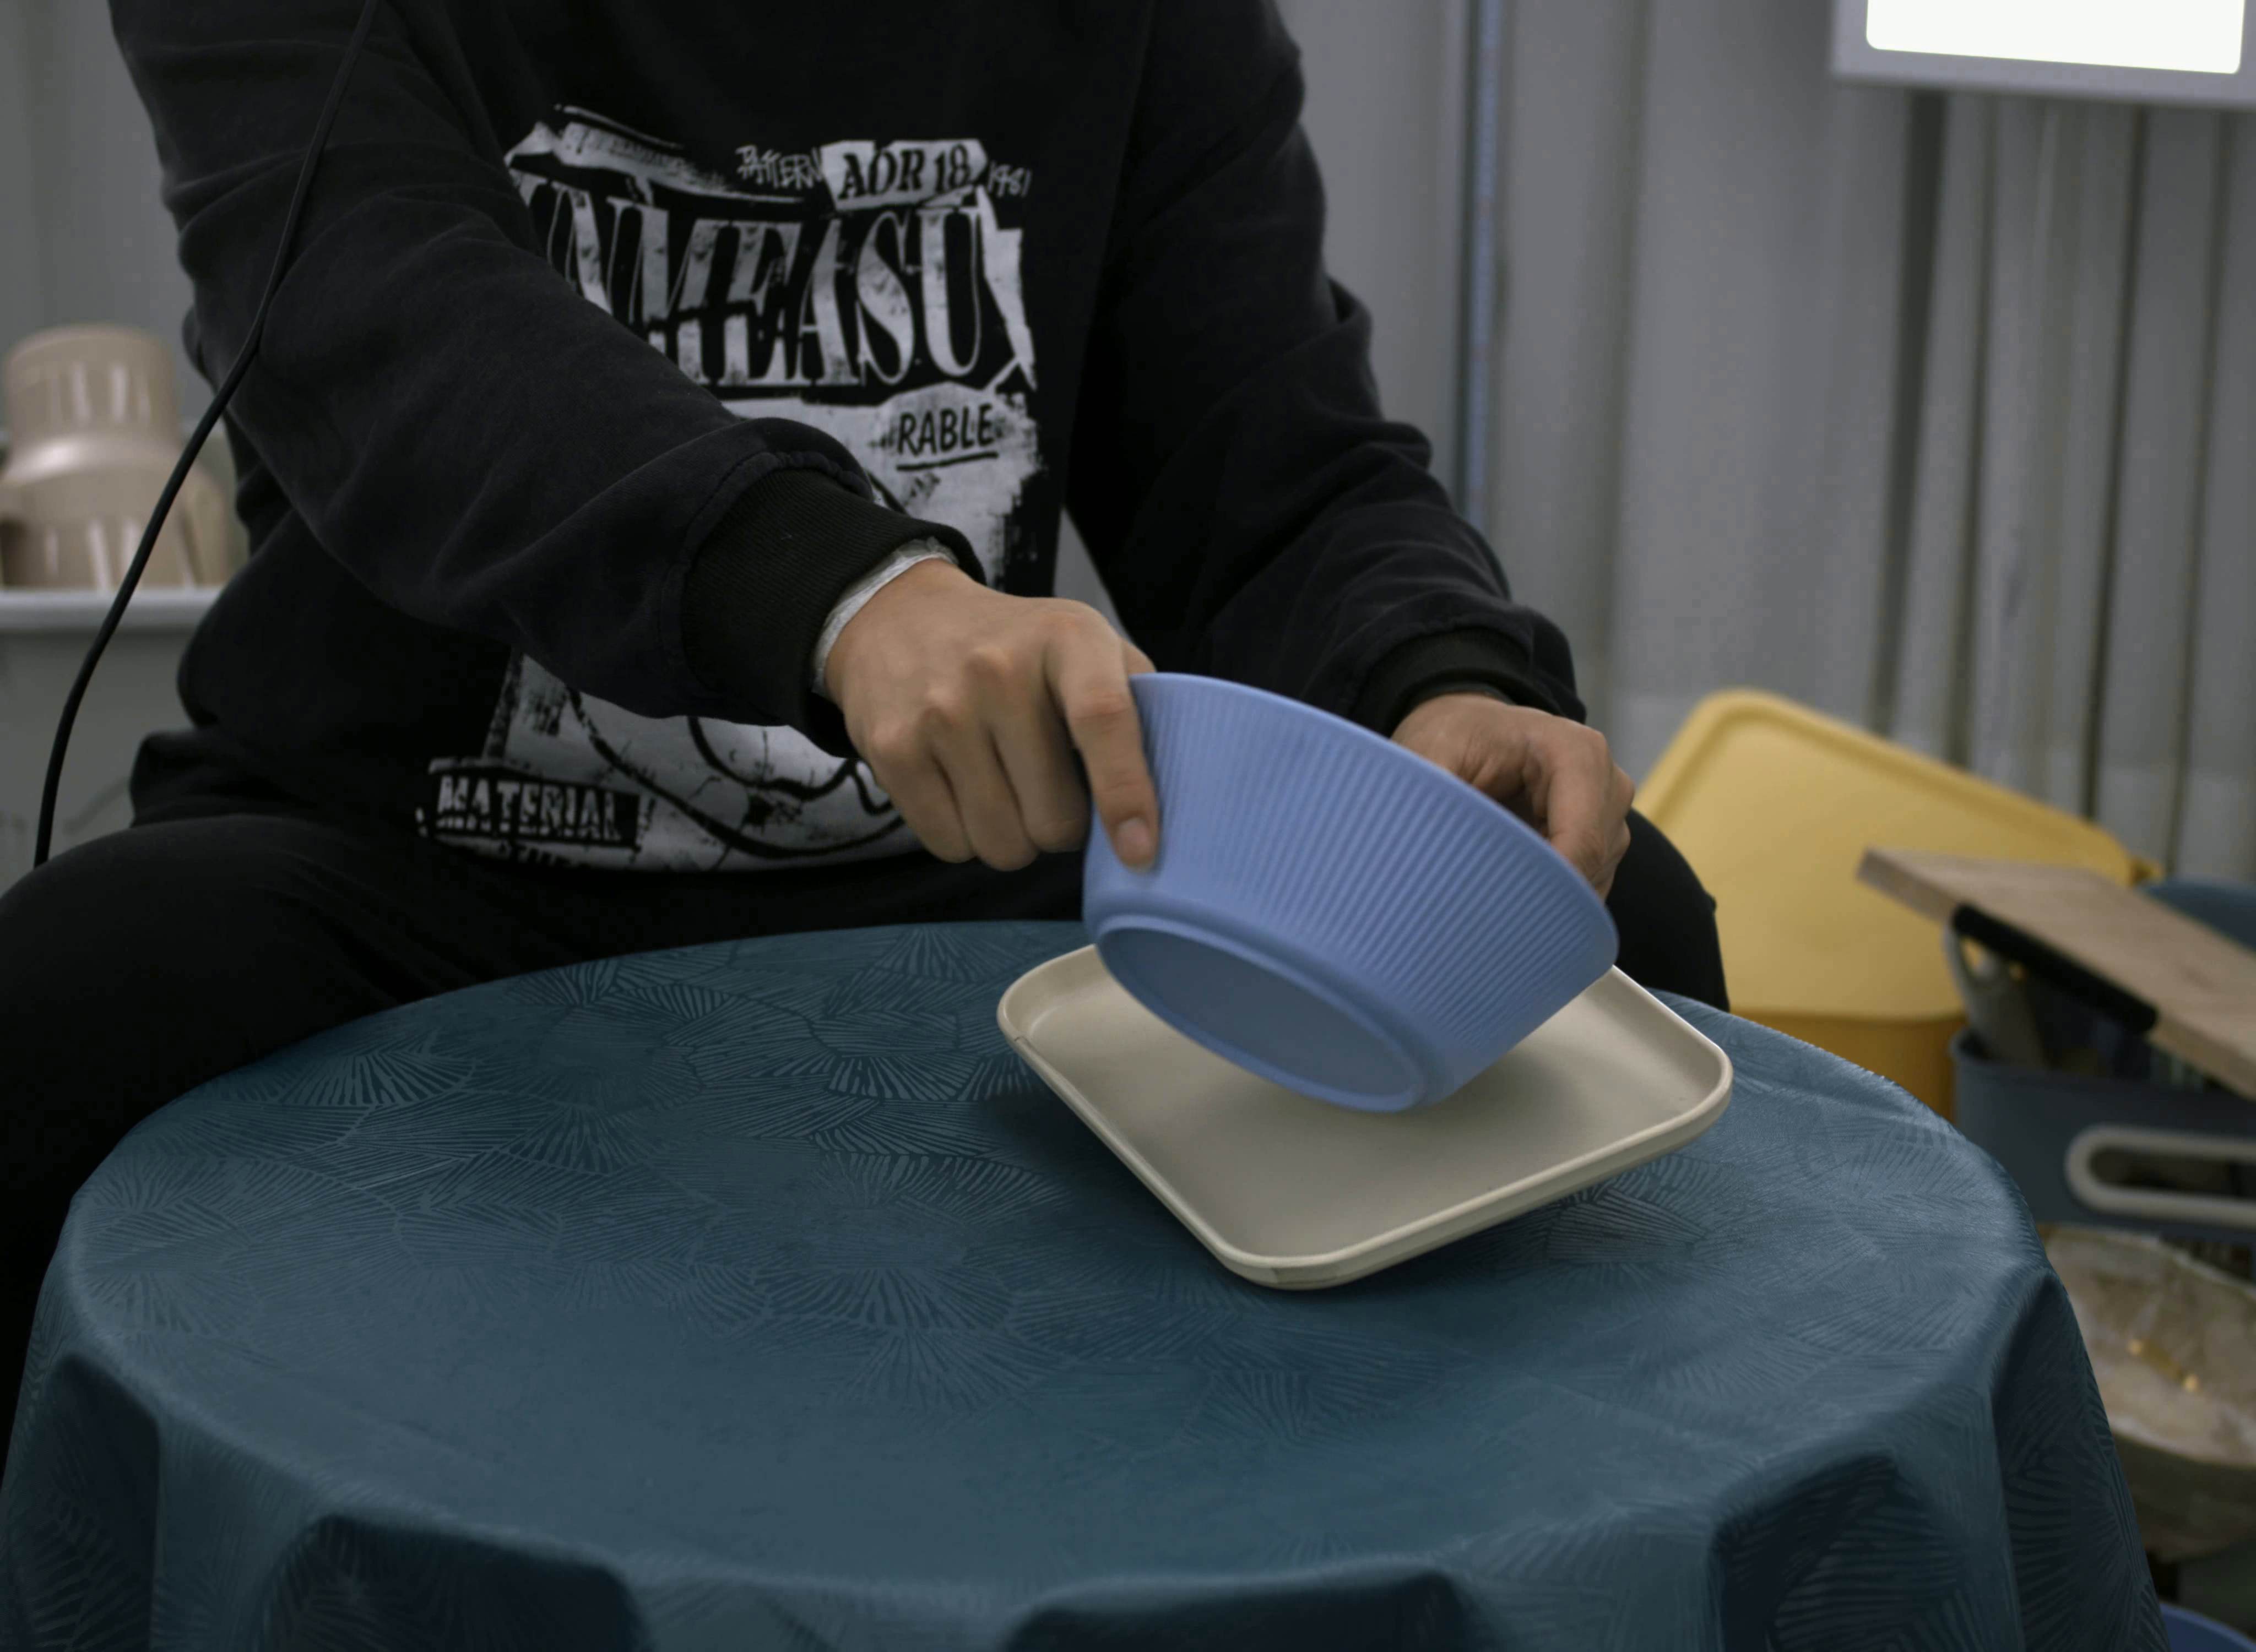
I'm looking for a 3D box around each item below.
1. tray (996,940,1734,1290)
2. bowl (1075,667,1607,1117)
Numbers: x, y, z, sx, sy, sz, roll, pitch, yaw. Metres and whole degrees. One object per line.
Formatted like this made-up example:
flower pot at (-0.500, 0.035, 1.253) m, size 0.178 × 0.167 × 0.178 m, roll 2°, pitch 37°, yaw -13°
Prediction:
tray at (0.071, 0.072, 1.647) m, size 0.171 × 0.018 × 0.236 m, roll -19°, pitch 27°, yaw -16°
bowl at (0.051, 0.029, 1.578) m, size 0.175 × 0.070 × 0.177 m, roll 26°, pitch -17°, yaw 9°
